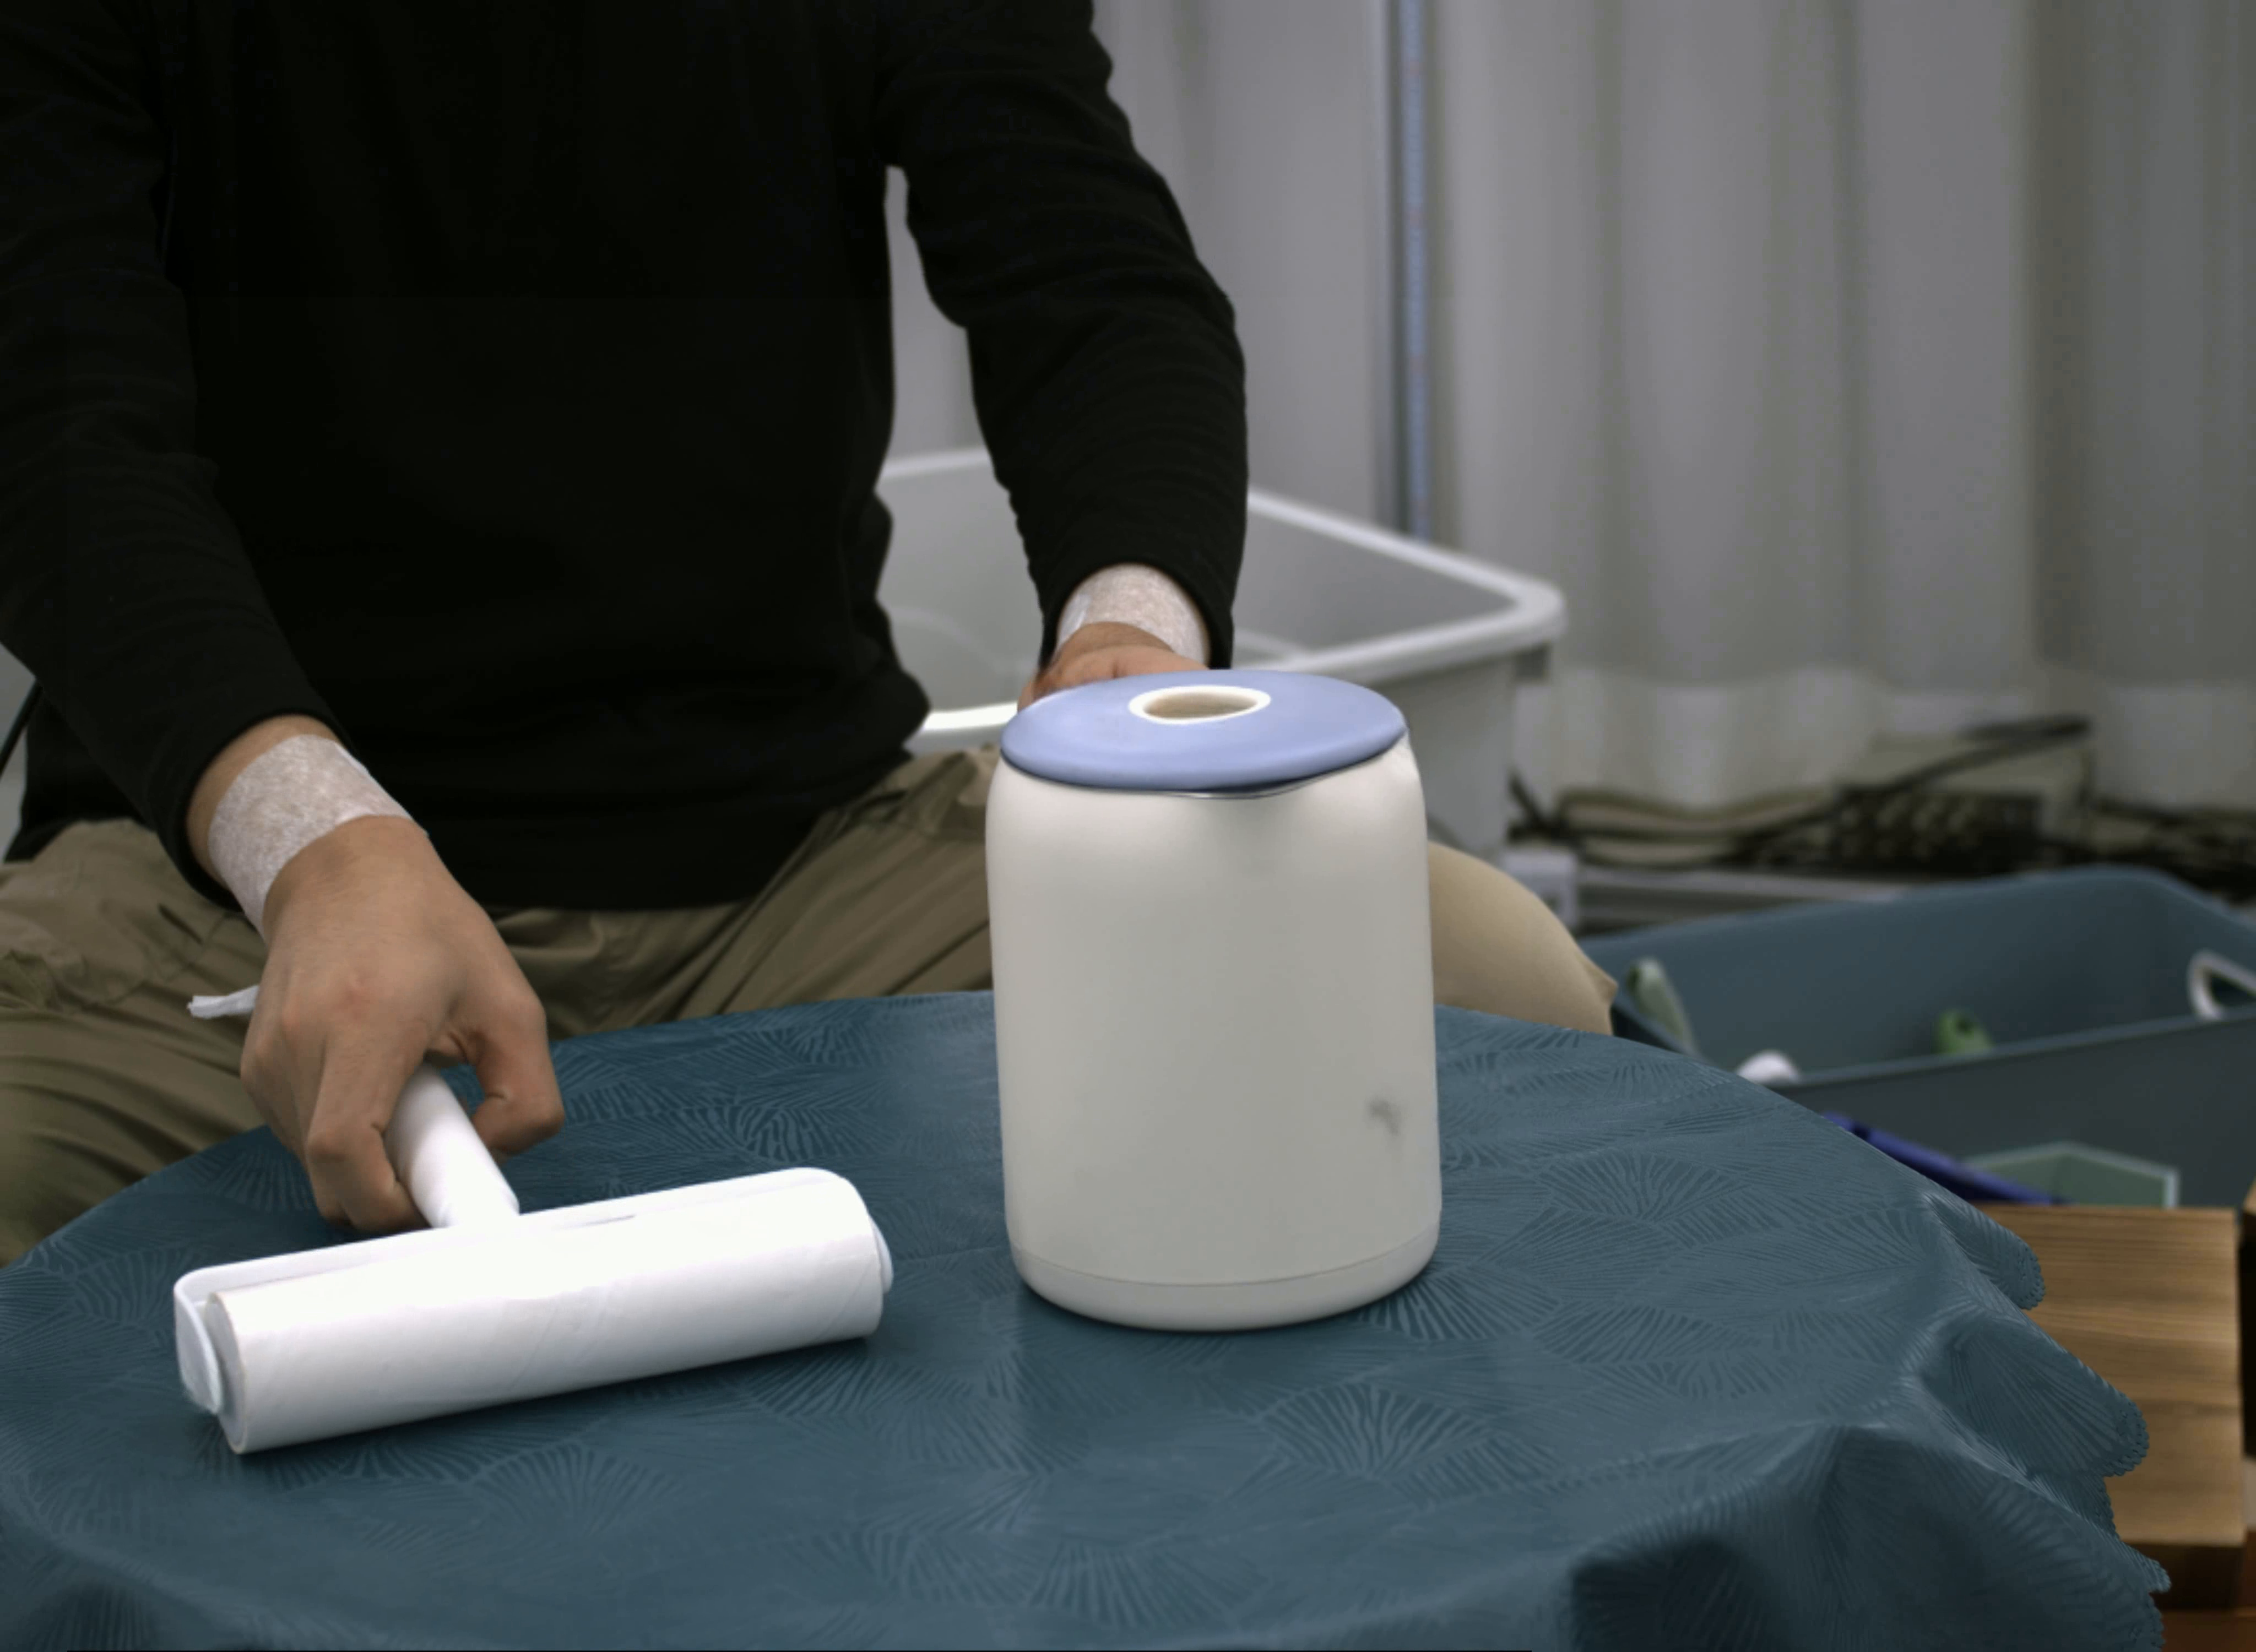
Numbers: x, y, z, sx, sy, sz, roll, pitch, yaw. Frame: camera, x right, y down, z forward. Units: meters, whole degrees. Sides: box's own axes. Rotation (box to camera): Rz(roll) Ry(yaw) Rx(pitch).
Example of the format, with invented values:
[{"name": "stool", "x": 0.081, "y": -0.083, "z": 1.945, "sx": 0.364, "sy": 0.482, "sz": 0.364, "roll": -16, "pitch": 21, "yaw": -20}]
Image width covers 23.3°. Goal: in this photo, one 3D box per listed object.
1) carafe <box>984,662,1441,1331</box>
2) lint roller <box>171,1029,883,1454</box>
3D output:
[{"name": "carafe", "x": 0.019, "y": 0.044, "z": 1.644, "sx": 0.131, "sy": 0.182, "sz": 0.192, "roll": -6, "pitch": 12, "yaw": -13}, {"name": "lint roller", "x": -0.203, "y": 0.105, "z": 1.637, "sx": 0.202, "sy": 0.048, "sz": 0.228, "roll": -10, "pitch": 26, "yaw": -22}]
